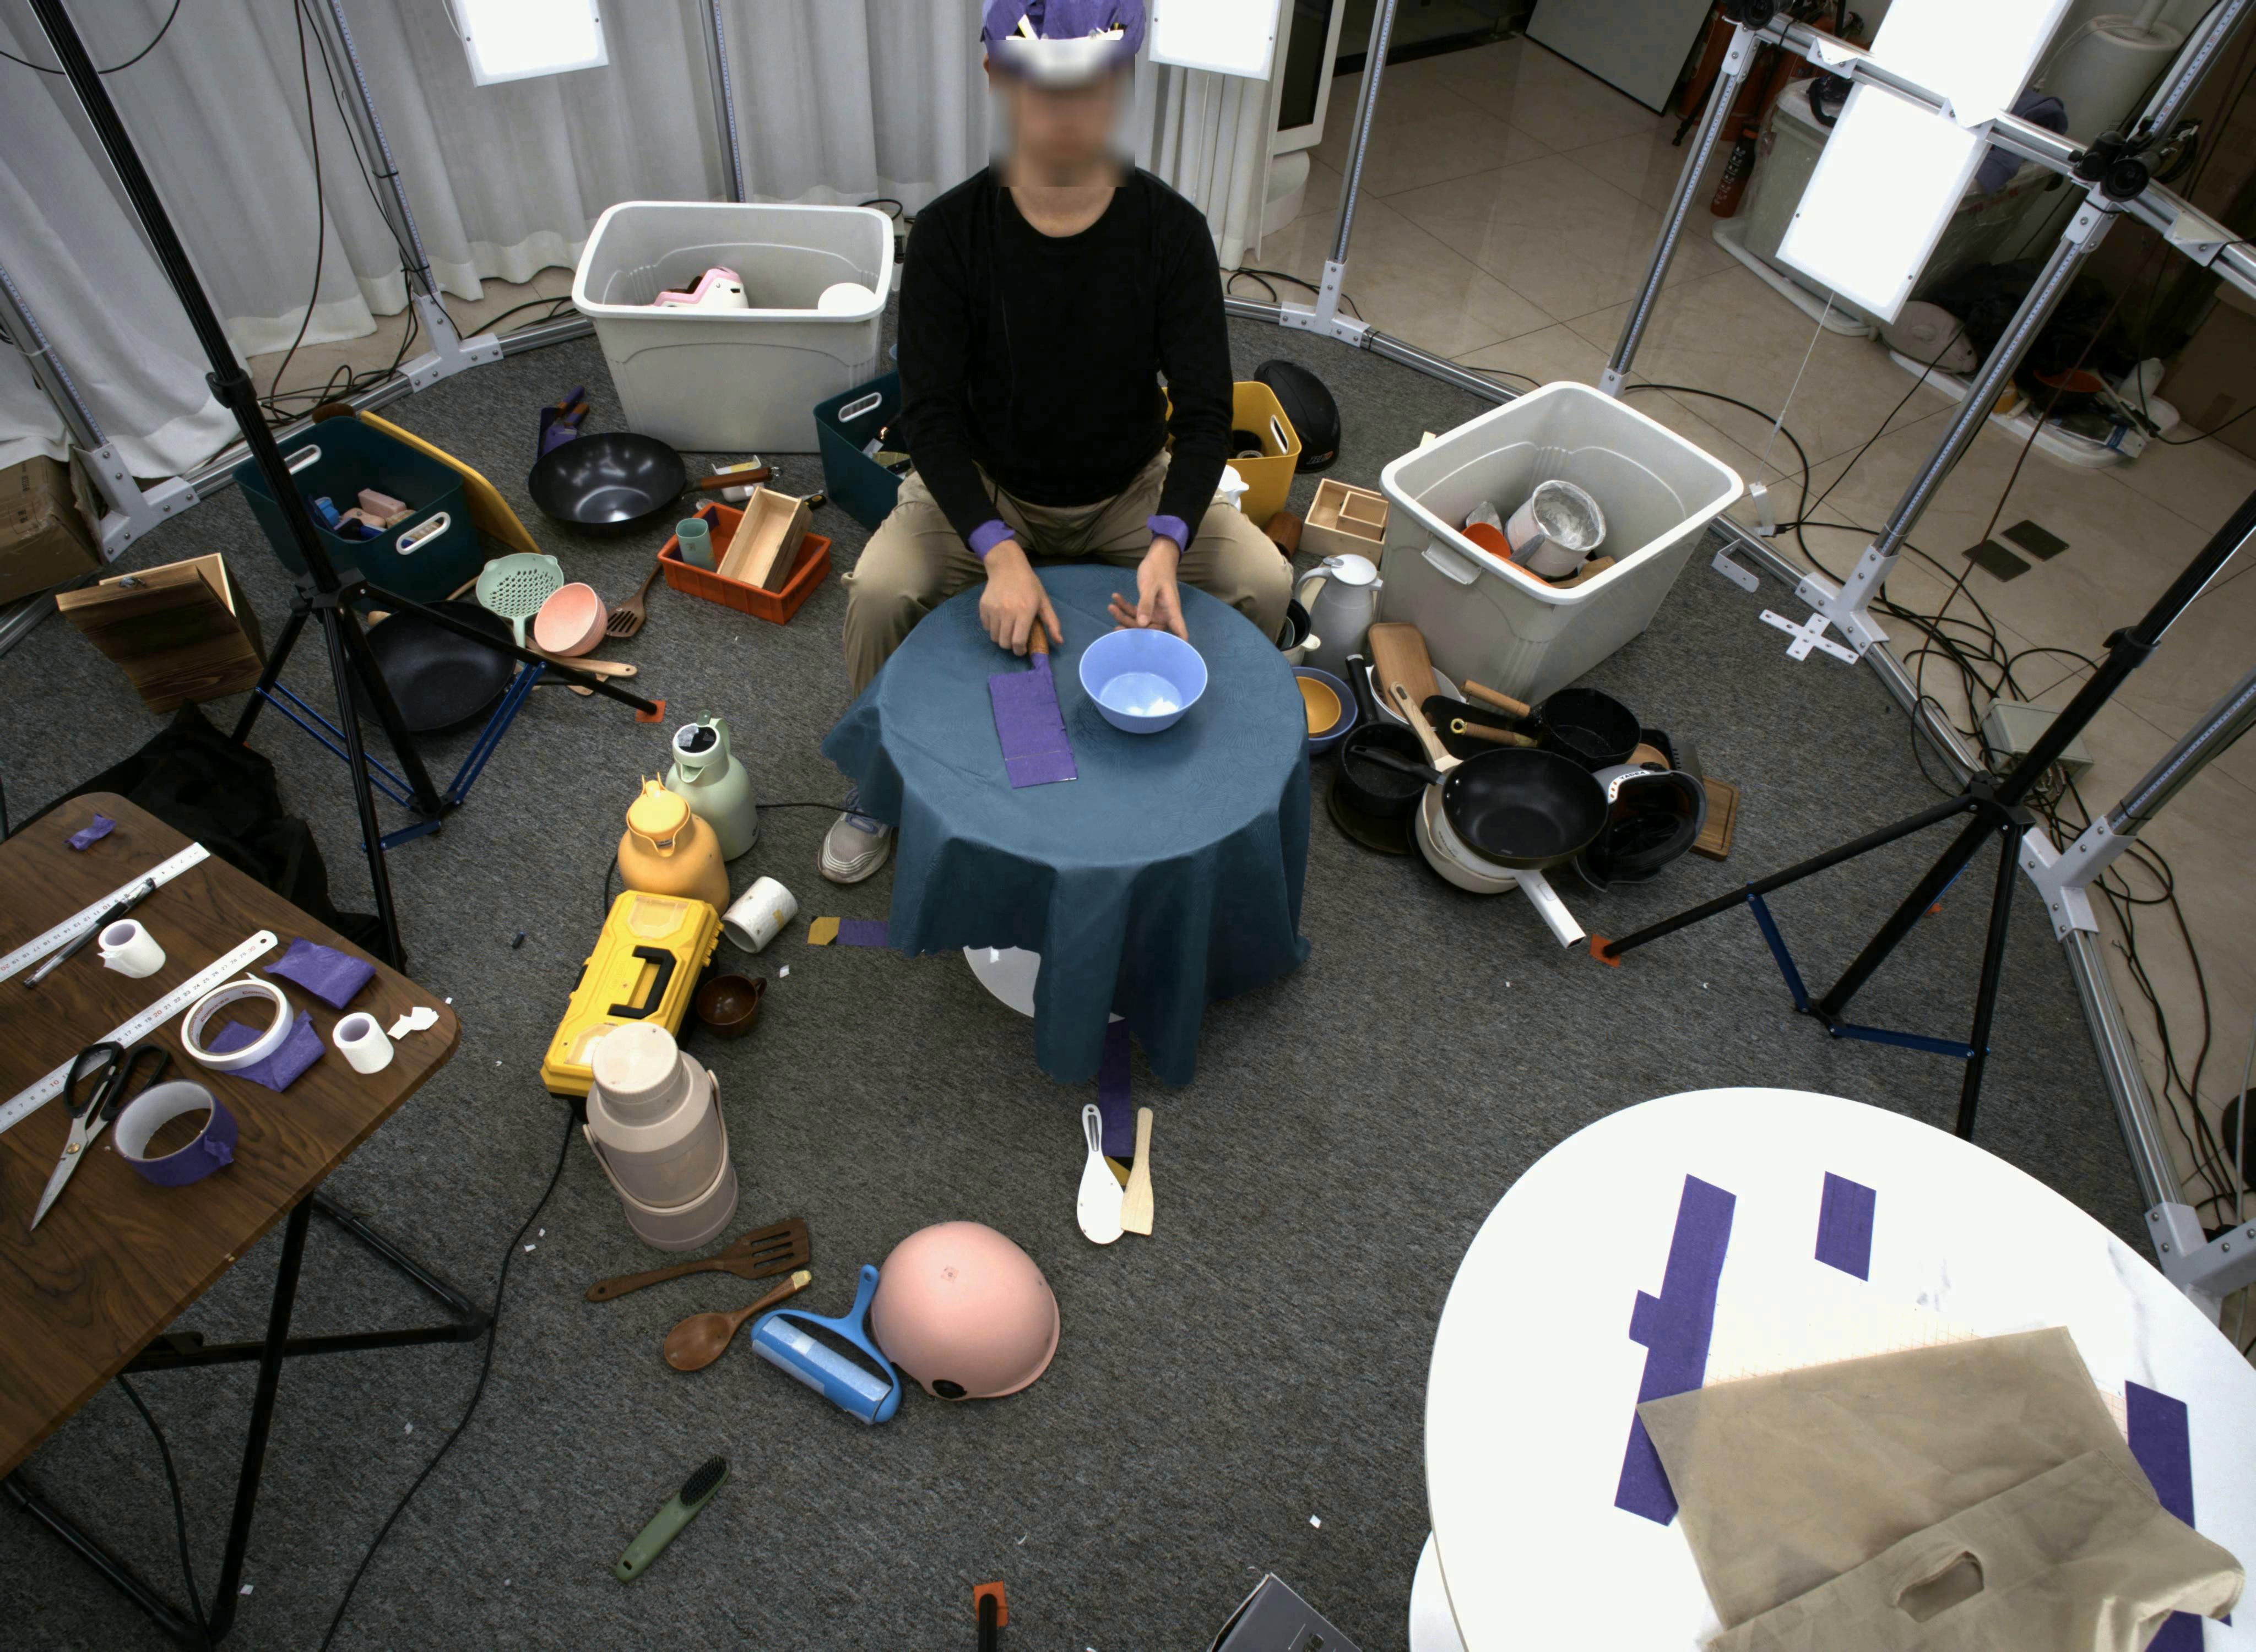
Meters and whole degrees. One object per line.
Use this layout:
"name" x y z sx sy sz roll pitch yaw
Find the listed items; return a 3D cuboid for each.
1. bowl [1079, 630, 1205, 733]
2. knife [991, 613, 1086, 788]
"bowl" 0.018 -0.193 1.791 0.176 0.068 0.180 2 48 -3
"knife" -0.140 -0.181 1.800 0.104 0.031 0.323 -8 51 -11
